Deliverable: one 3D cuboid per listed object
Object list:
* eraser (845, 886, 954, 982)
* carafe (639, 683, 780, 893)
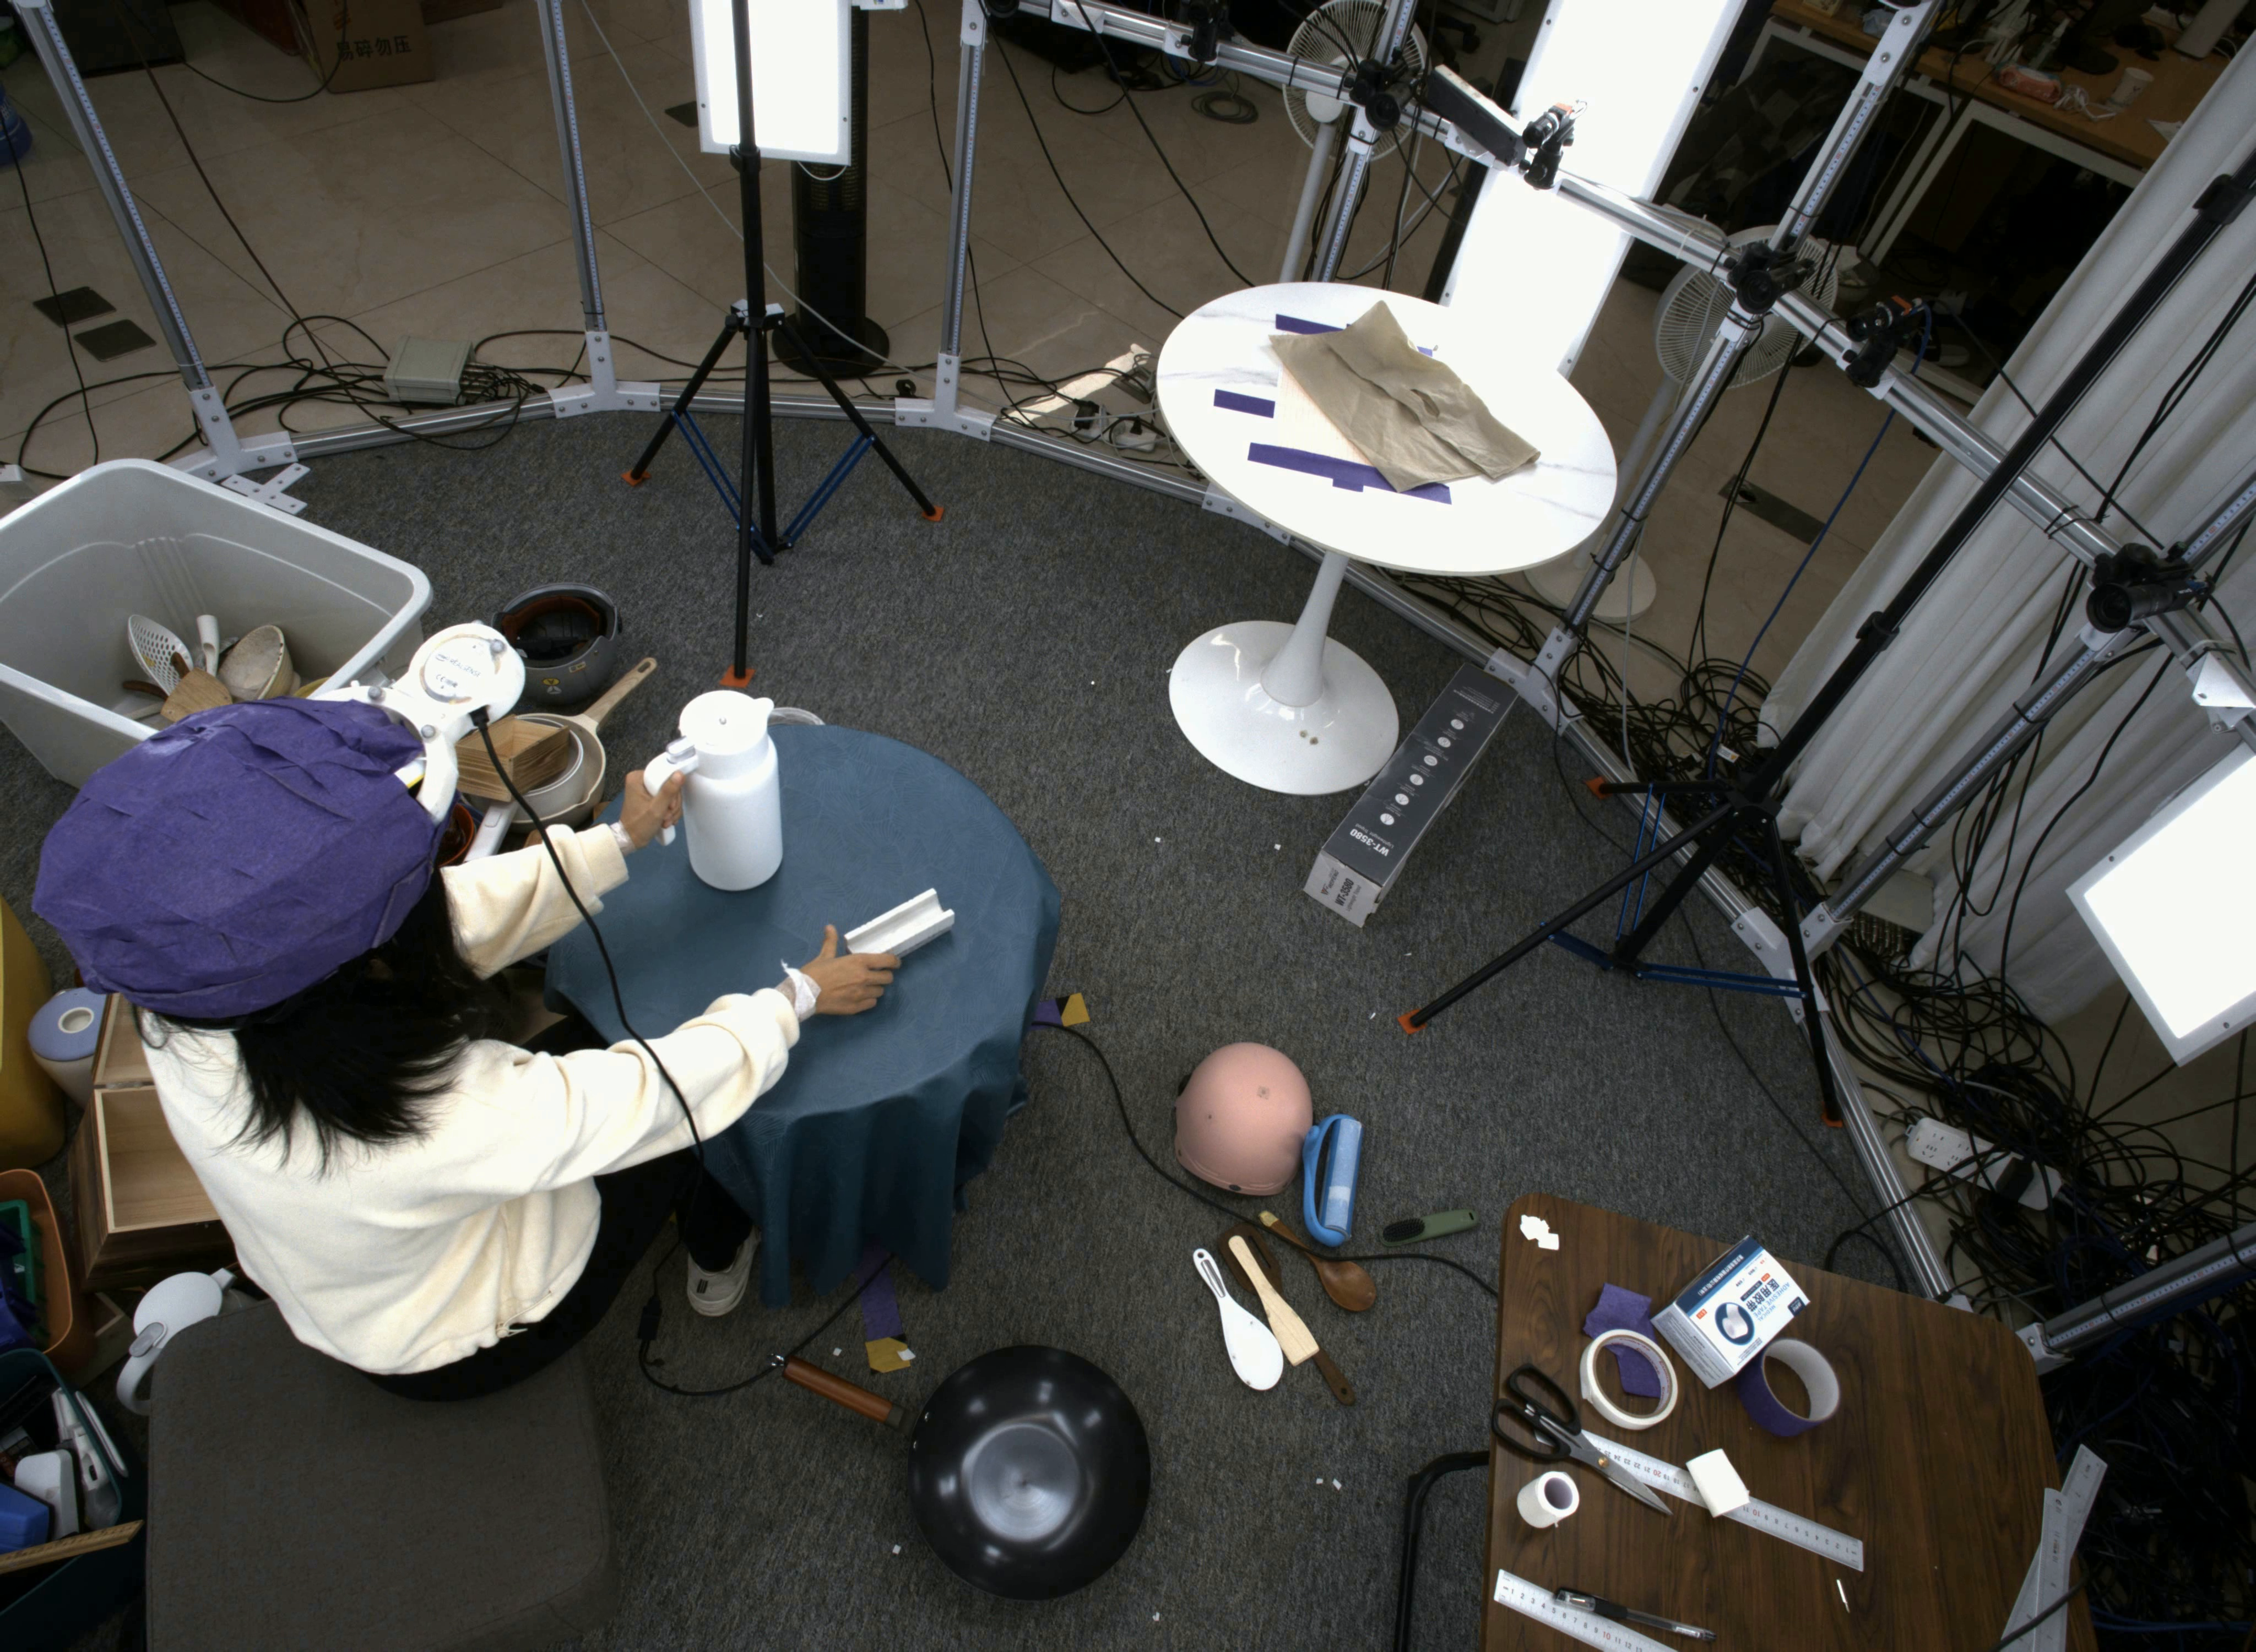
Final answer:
[{"bbox_3d":[-0.285,0.133,1.626,0.135,0.047,0.049,-33,68,-33],"label":"eraser"},{"bbox_3d":[-0.497,-0.033,1.552,0.121,0.274,0.173,41,55,17],"label":"carafe"}]
